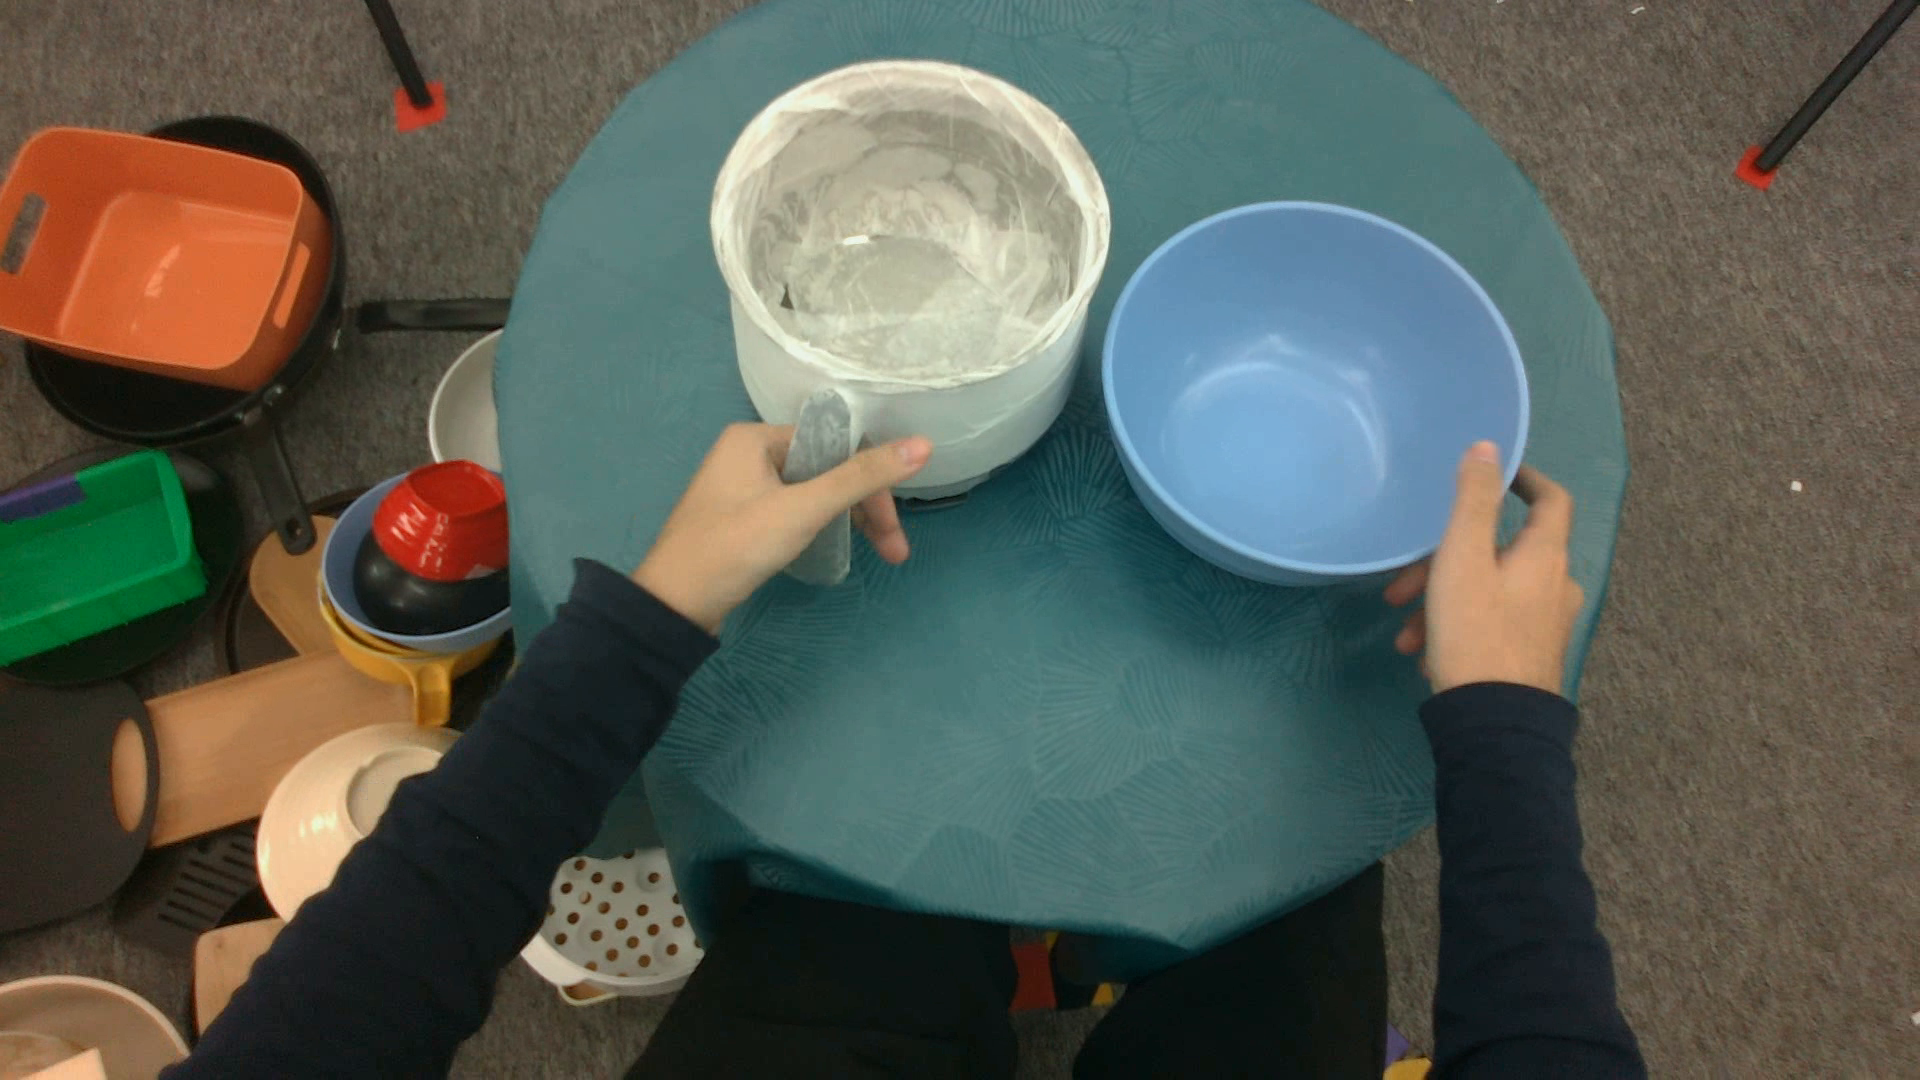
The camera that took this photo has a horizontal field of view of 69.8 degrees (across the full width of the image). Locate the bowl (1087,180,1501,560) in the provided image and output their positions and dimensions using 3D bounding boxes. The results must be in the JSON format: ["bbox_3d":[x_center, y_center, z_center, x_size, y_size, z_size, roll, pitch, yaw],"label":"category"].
[{"bbox_3d":[0.151,-0.069,0.677,0.196,0.095,0.197,3,64,-6],"label":"bowl"}]

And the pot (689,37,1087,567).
[{"bbox_3d":[-0.041,-0.106,0.659,0.178,0.136,0.234,16,67,5],"label":"pot"}]
